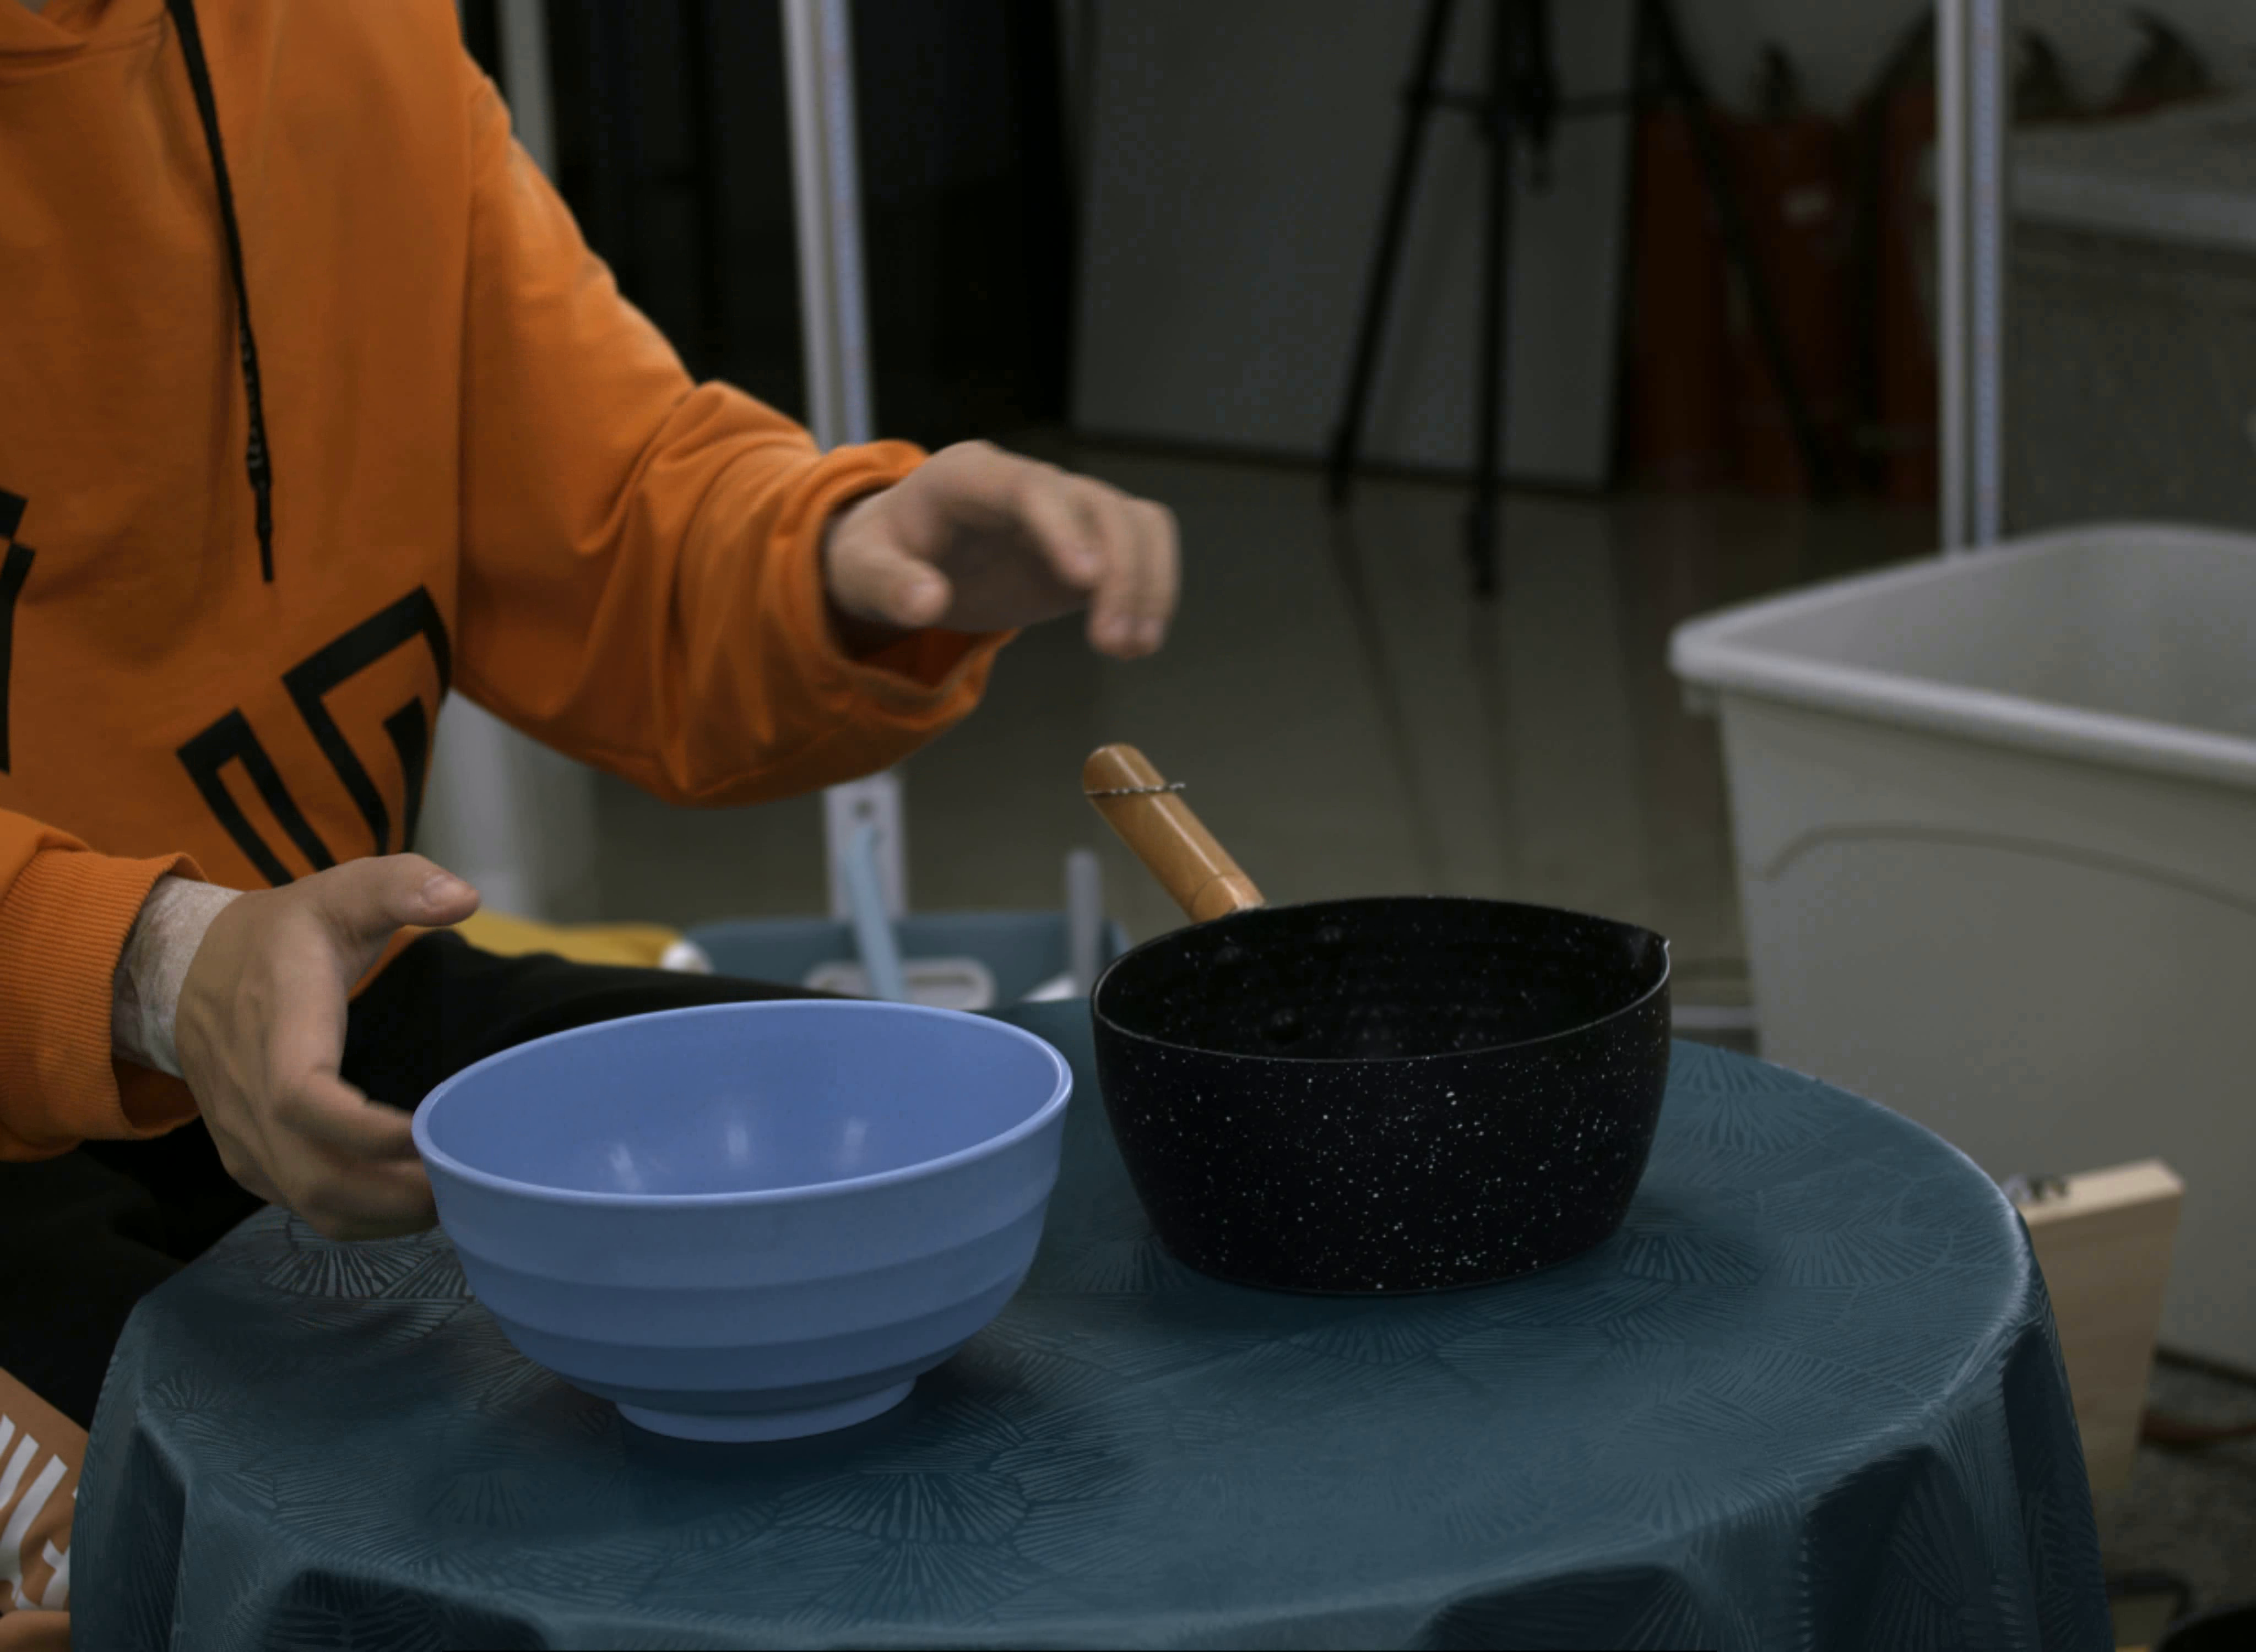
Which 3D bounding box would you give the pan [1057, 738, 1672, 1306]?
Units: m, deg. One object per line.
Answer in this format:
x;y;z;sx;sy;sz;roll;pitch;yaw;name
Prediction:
0.053;0.059;1.782;0.203;0.109;0.346;-10;16;-18;pan

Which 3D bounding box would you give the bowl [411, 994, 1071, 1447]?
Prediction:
-0.110;0.122;1.598;0.194;0.096;0.197;-4;14;0;bowl
